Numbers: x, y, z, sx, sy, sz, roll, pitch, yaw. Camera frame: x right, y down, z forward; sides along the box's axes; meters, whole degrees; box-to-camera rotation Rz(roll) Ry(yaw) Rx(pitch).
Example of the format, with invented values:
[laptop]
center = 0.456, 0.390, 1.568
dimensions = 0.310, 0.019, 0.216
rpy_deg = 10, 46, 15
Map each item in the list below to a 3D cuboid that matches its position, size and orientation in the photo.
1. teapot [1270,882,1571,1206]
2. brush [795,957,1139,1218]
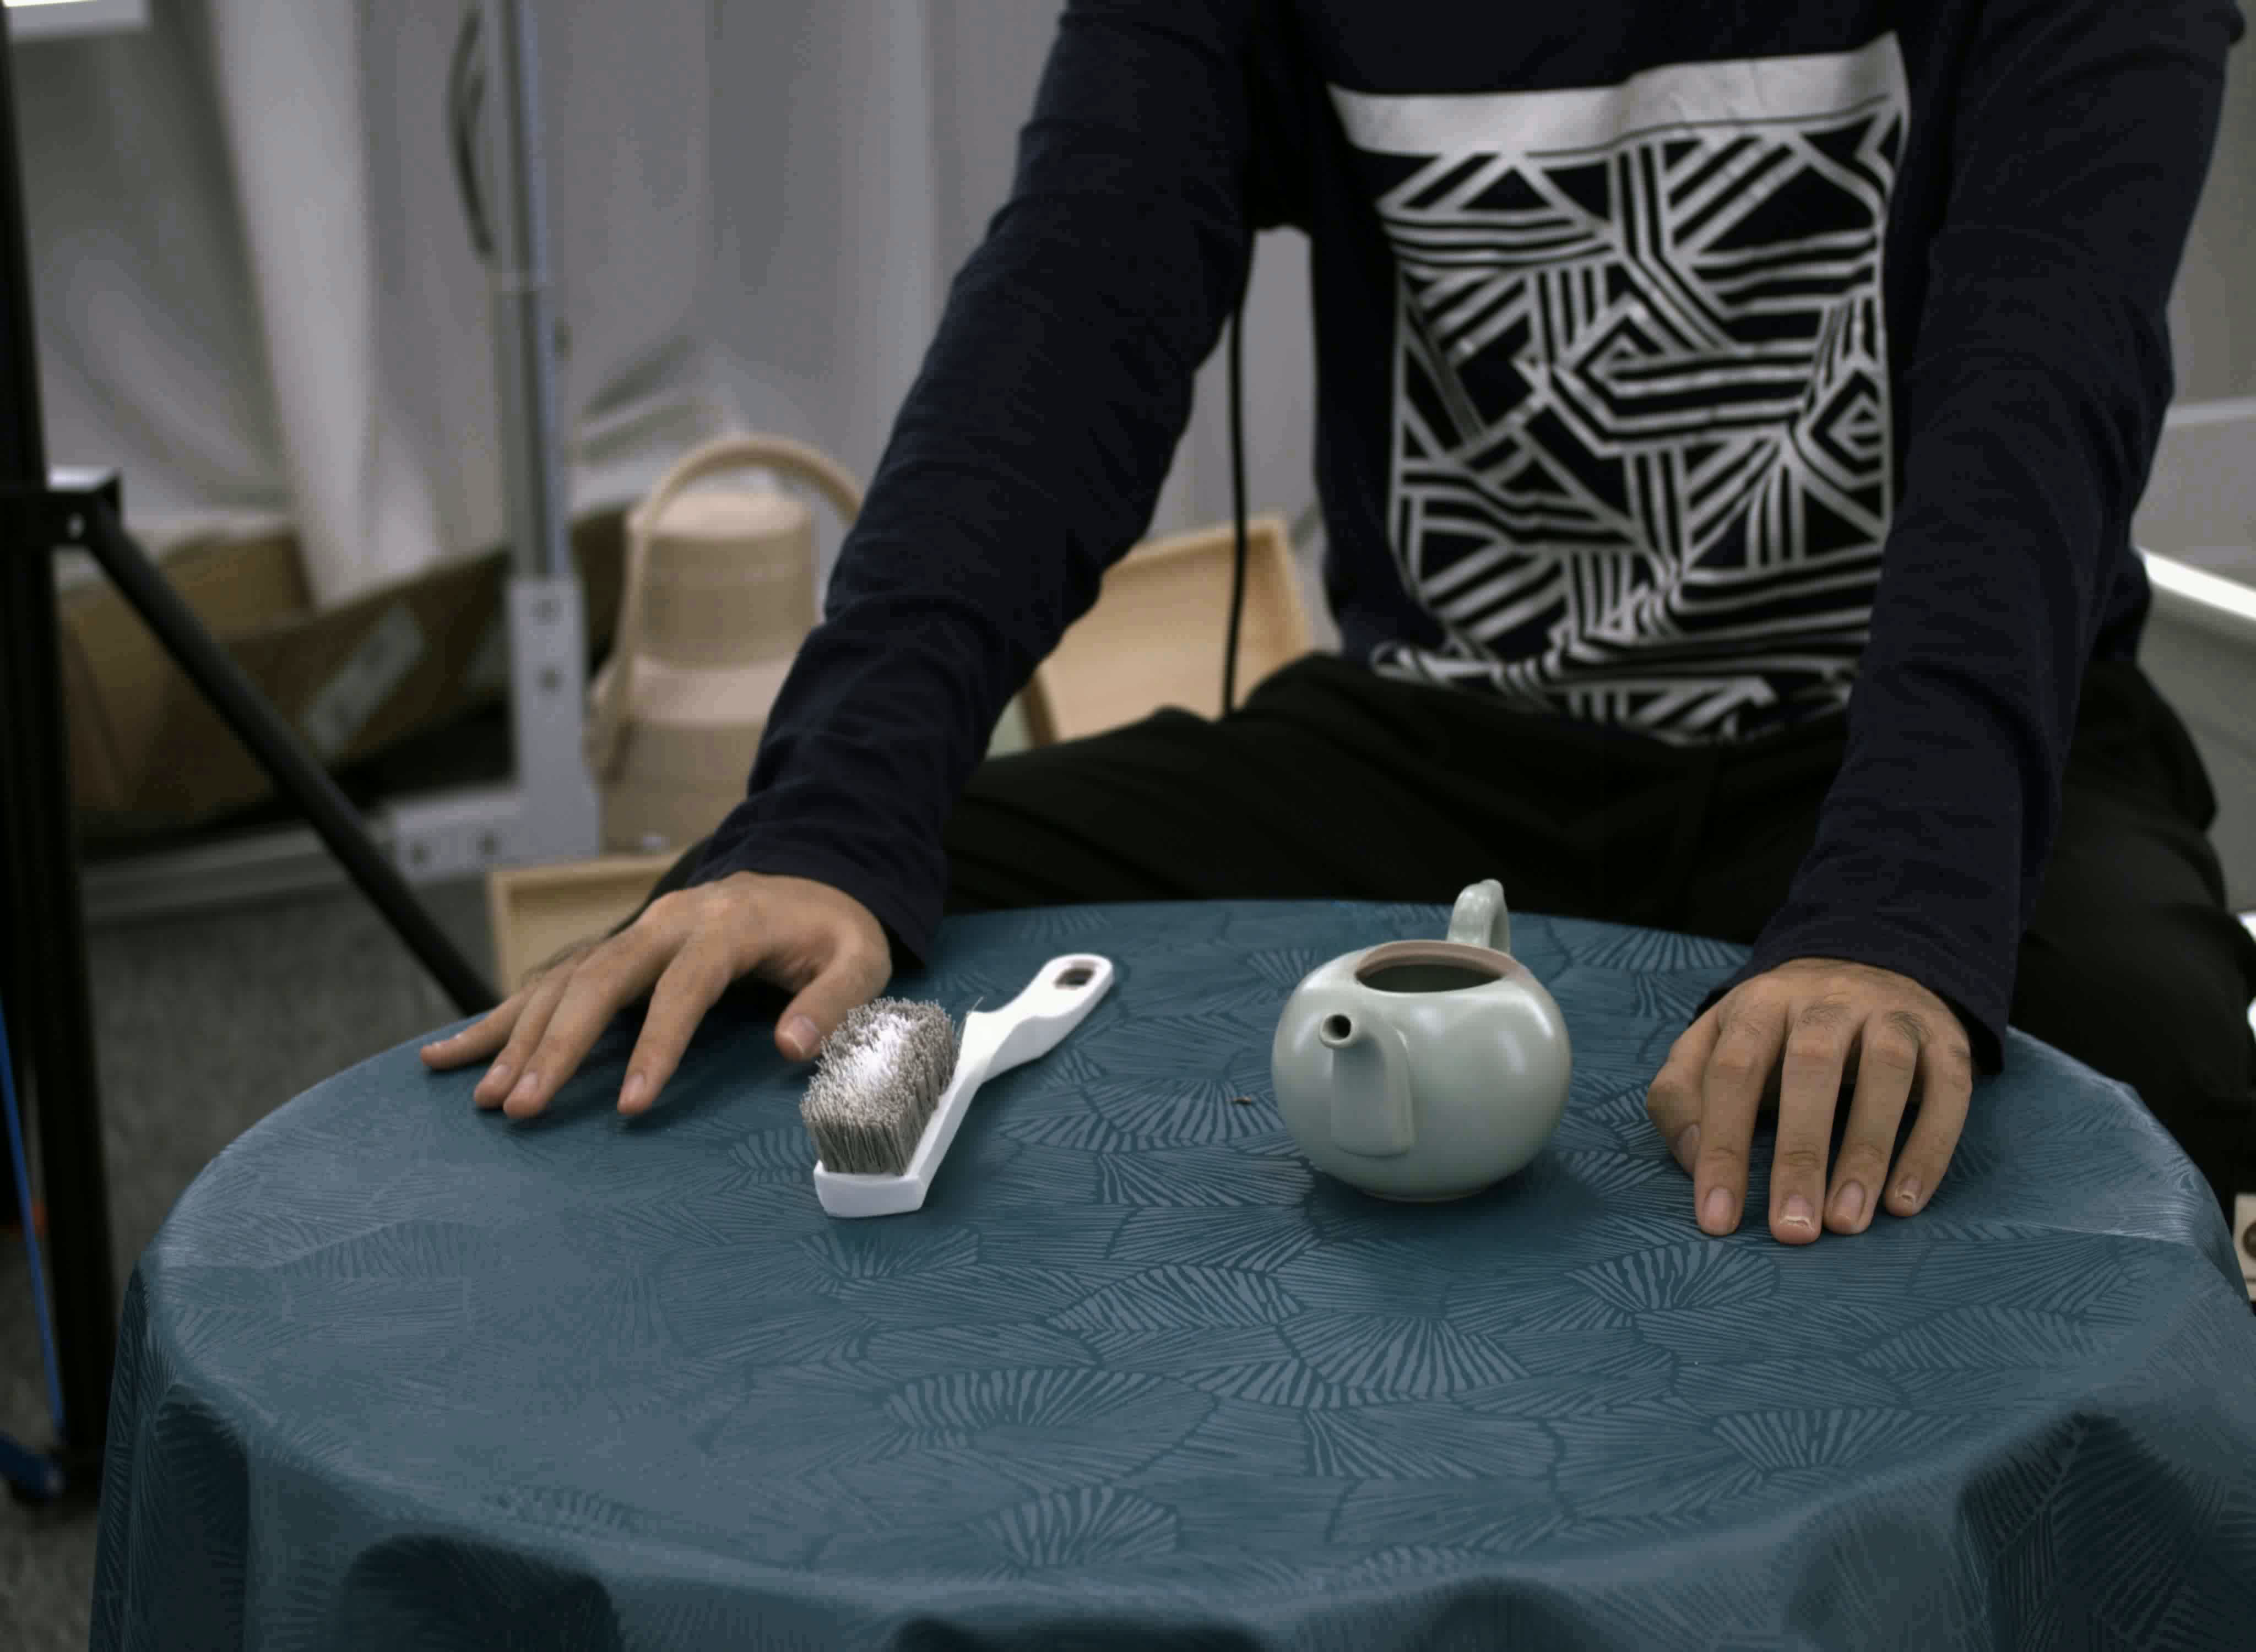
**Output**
[teapot]
center = 0.086, 0.070, 1.551
dimensions = 0.090, 0.074, 0.142
rpy_deg = 4, 18, 26
[brush]
center = -0.045, 0.061, 1.647
dimensions = 0.035, 0.050, 0.241
rpy_deg = -1, 16, 20
